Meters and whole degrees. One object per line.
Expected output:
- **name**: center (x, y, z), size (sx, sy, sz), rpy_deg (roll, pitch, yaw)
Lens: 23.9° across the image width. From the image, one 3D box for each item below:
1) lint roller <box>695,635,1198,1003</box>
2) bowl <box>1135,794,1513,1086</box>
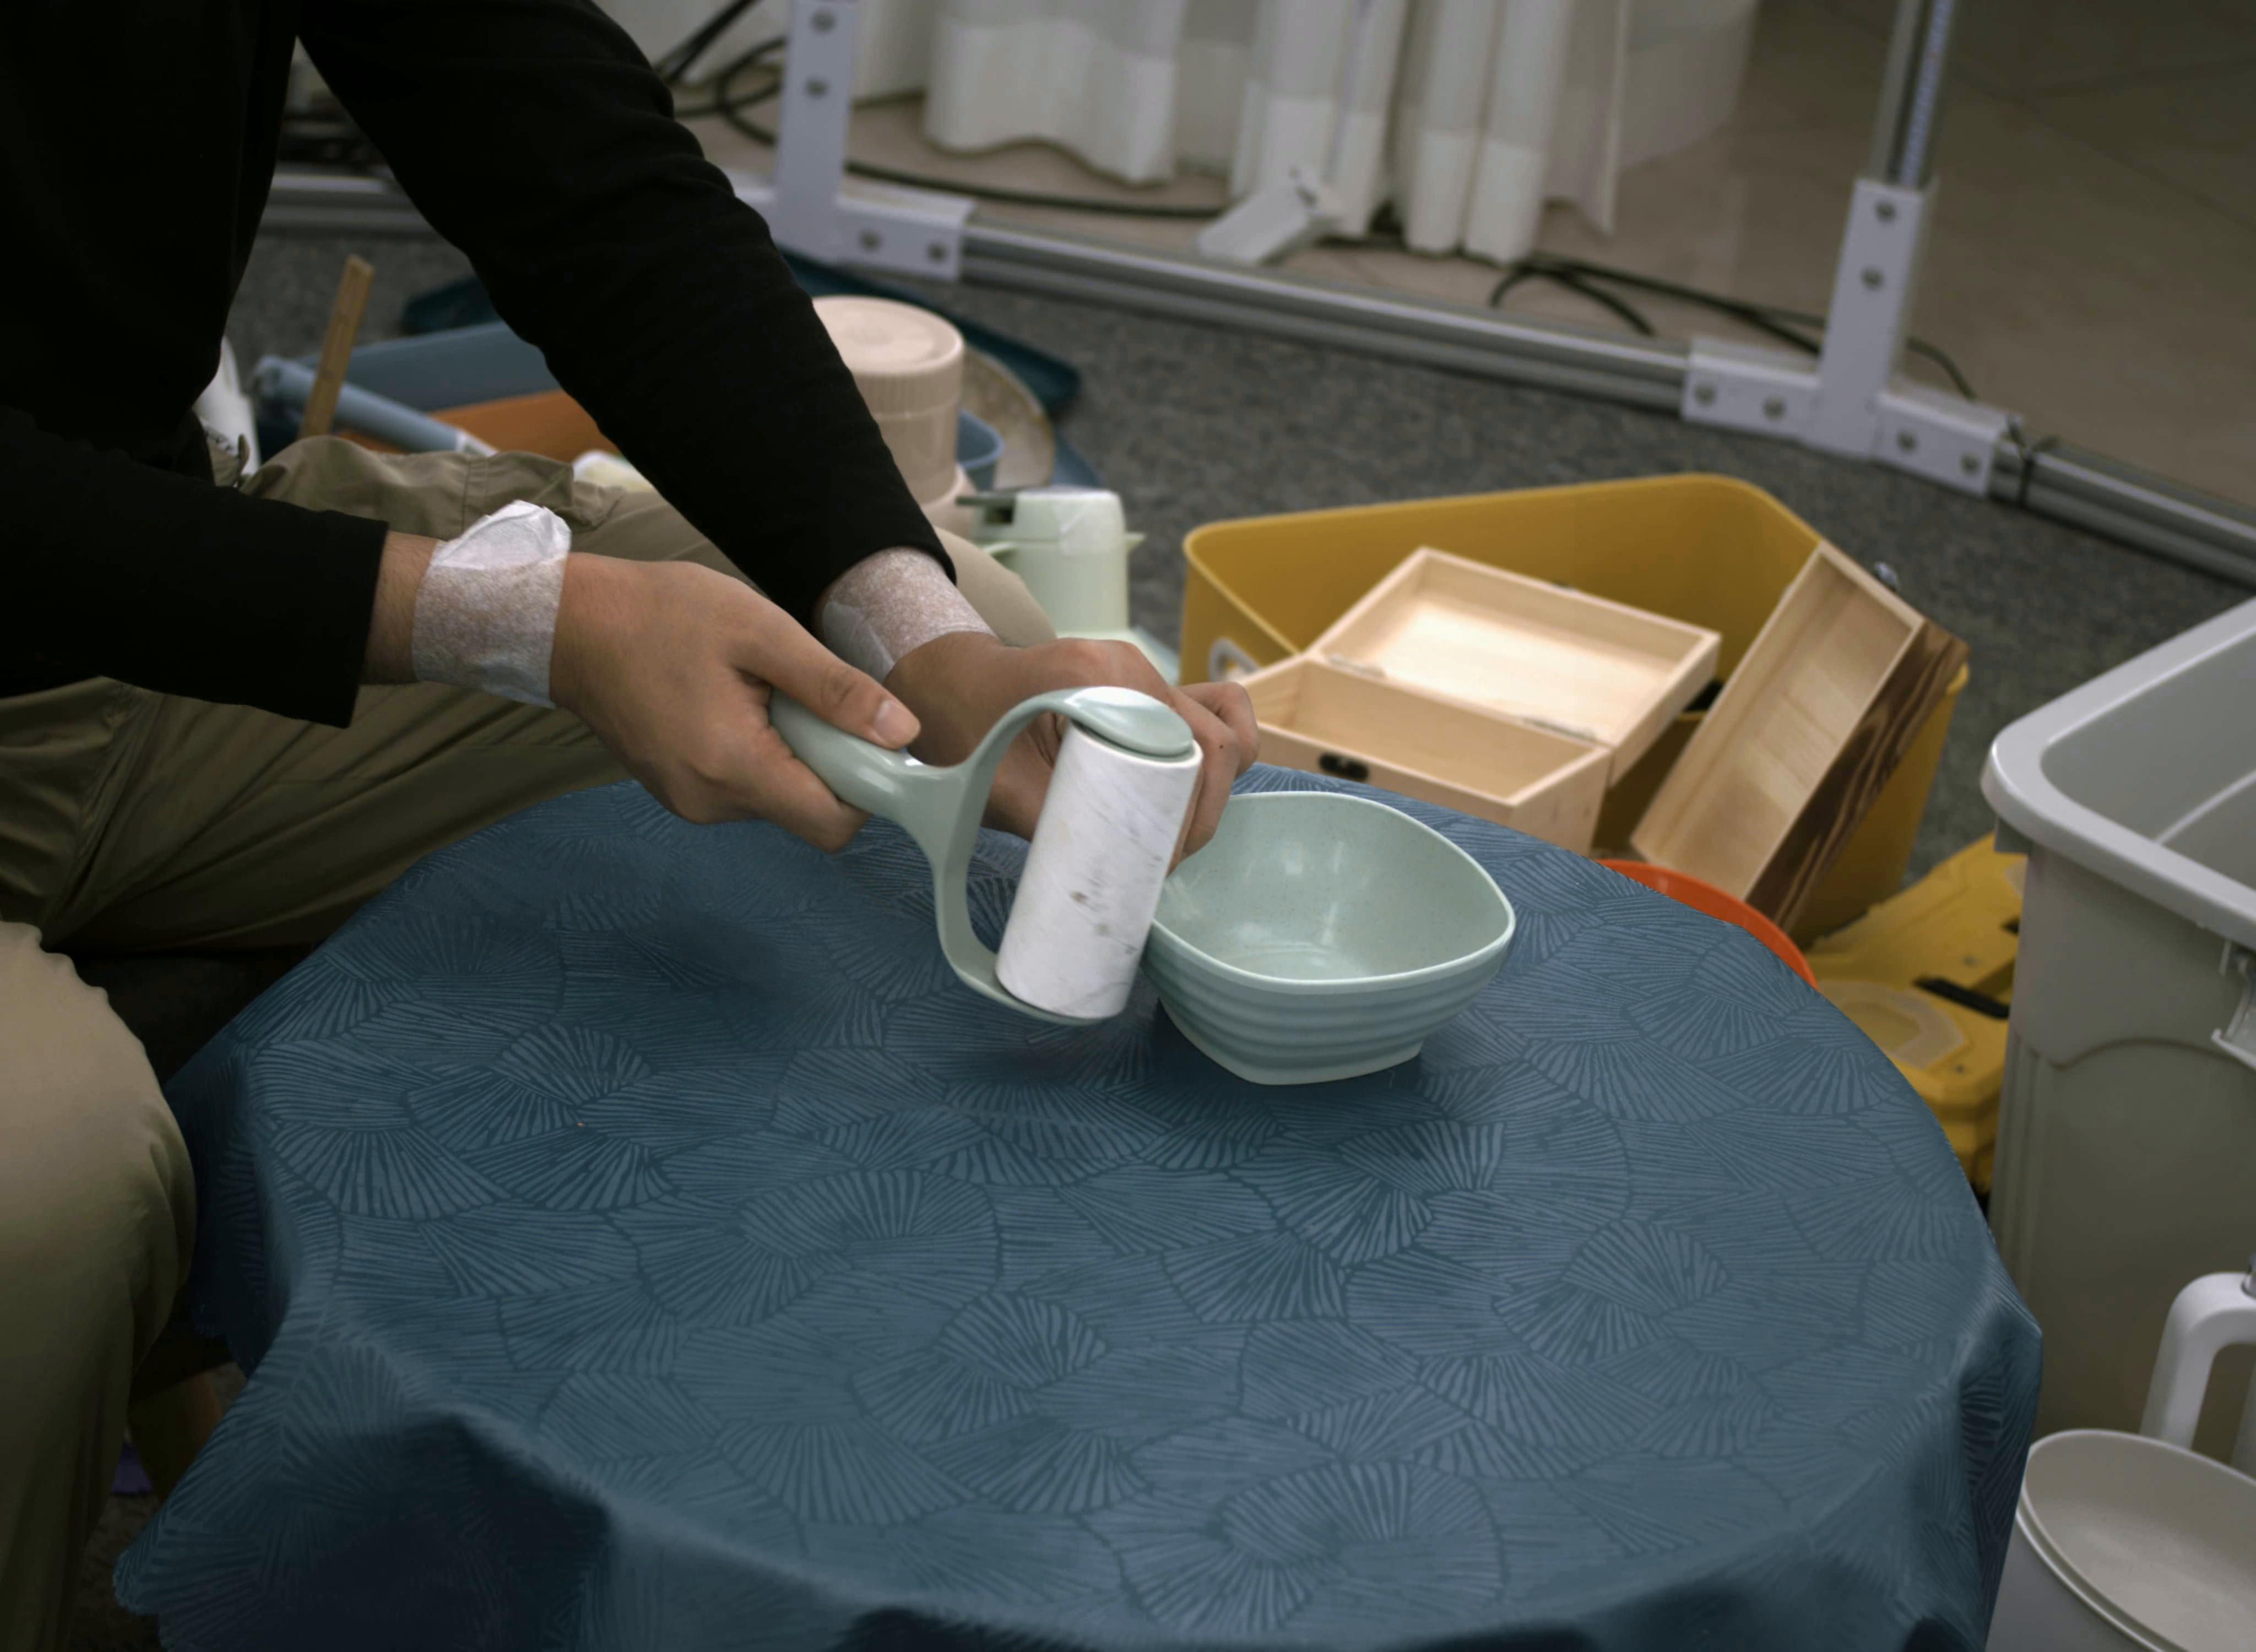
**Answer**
- **lint roller**: center (-0.073, -0.024, 1.866), size (0.198, 0.116, 0.048), rpy_deg (24, 23, 19)
- **bowl**: center (0.060, 0.046, 1.905), size (0.151, 0.058, 0.152), rpy_deg (7, 27, -4)
